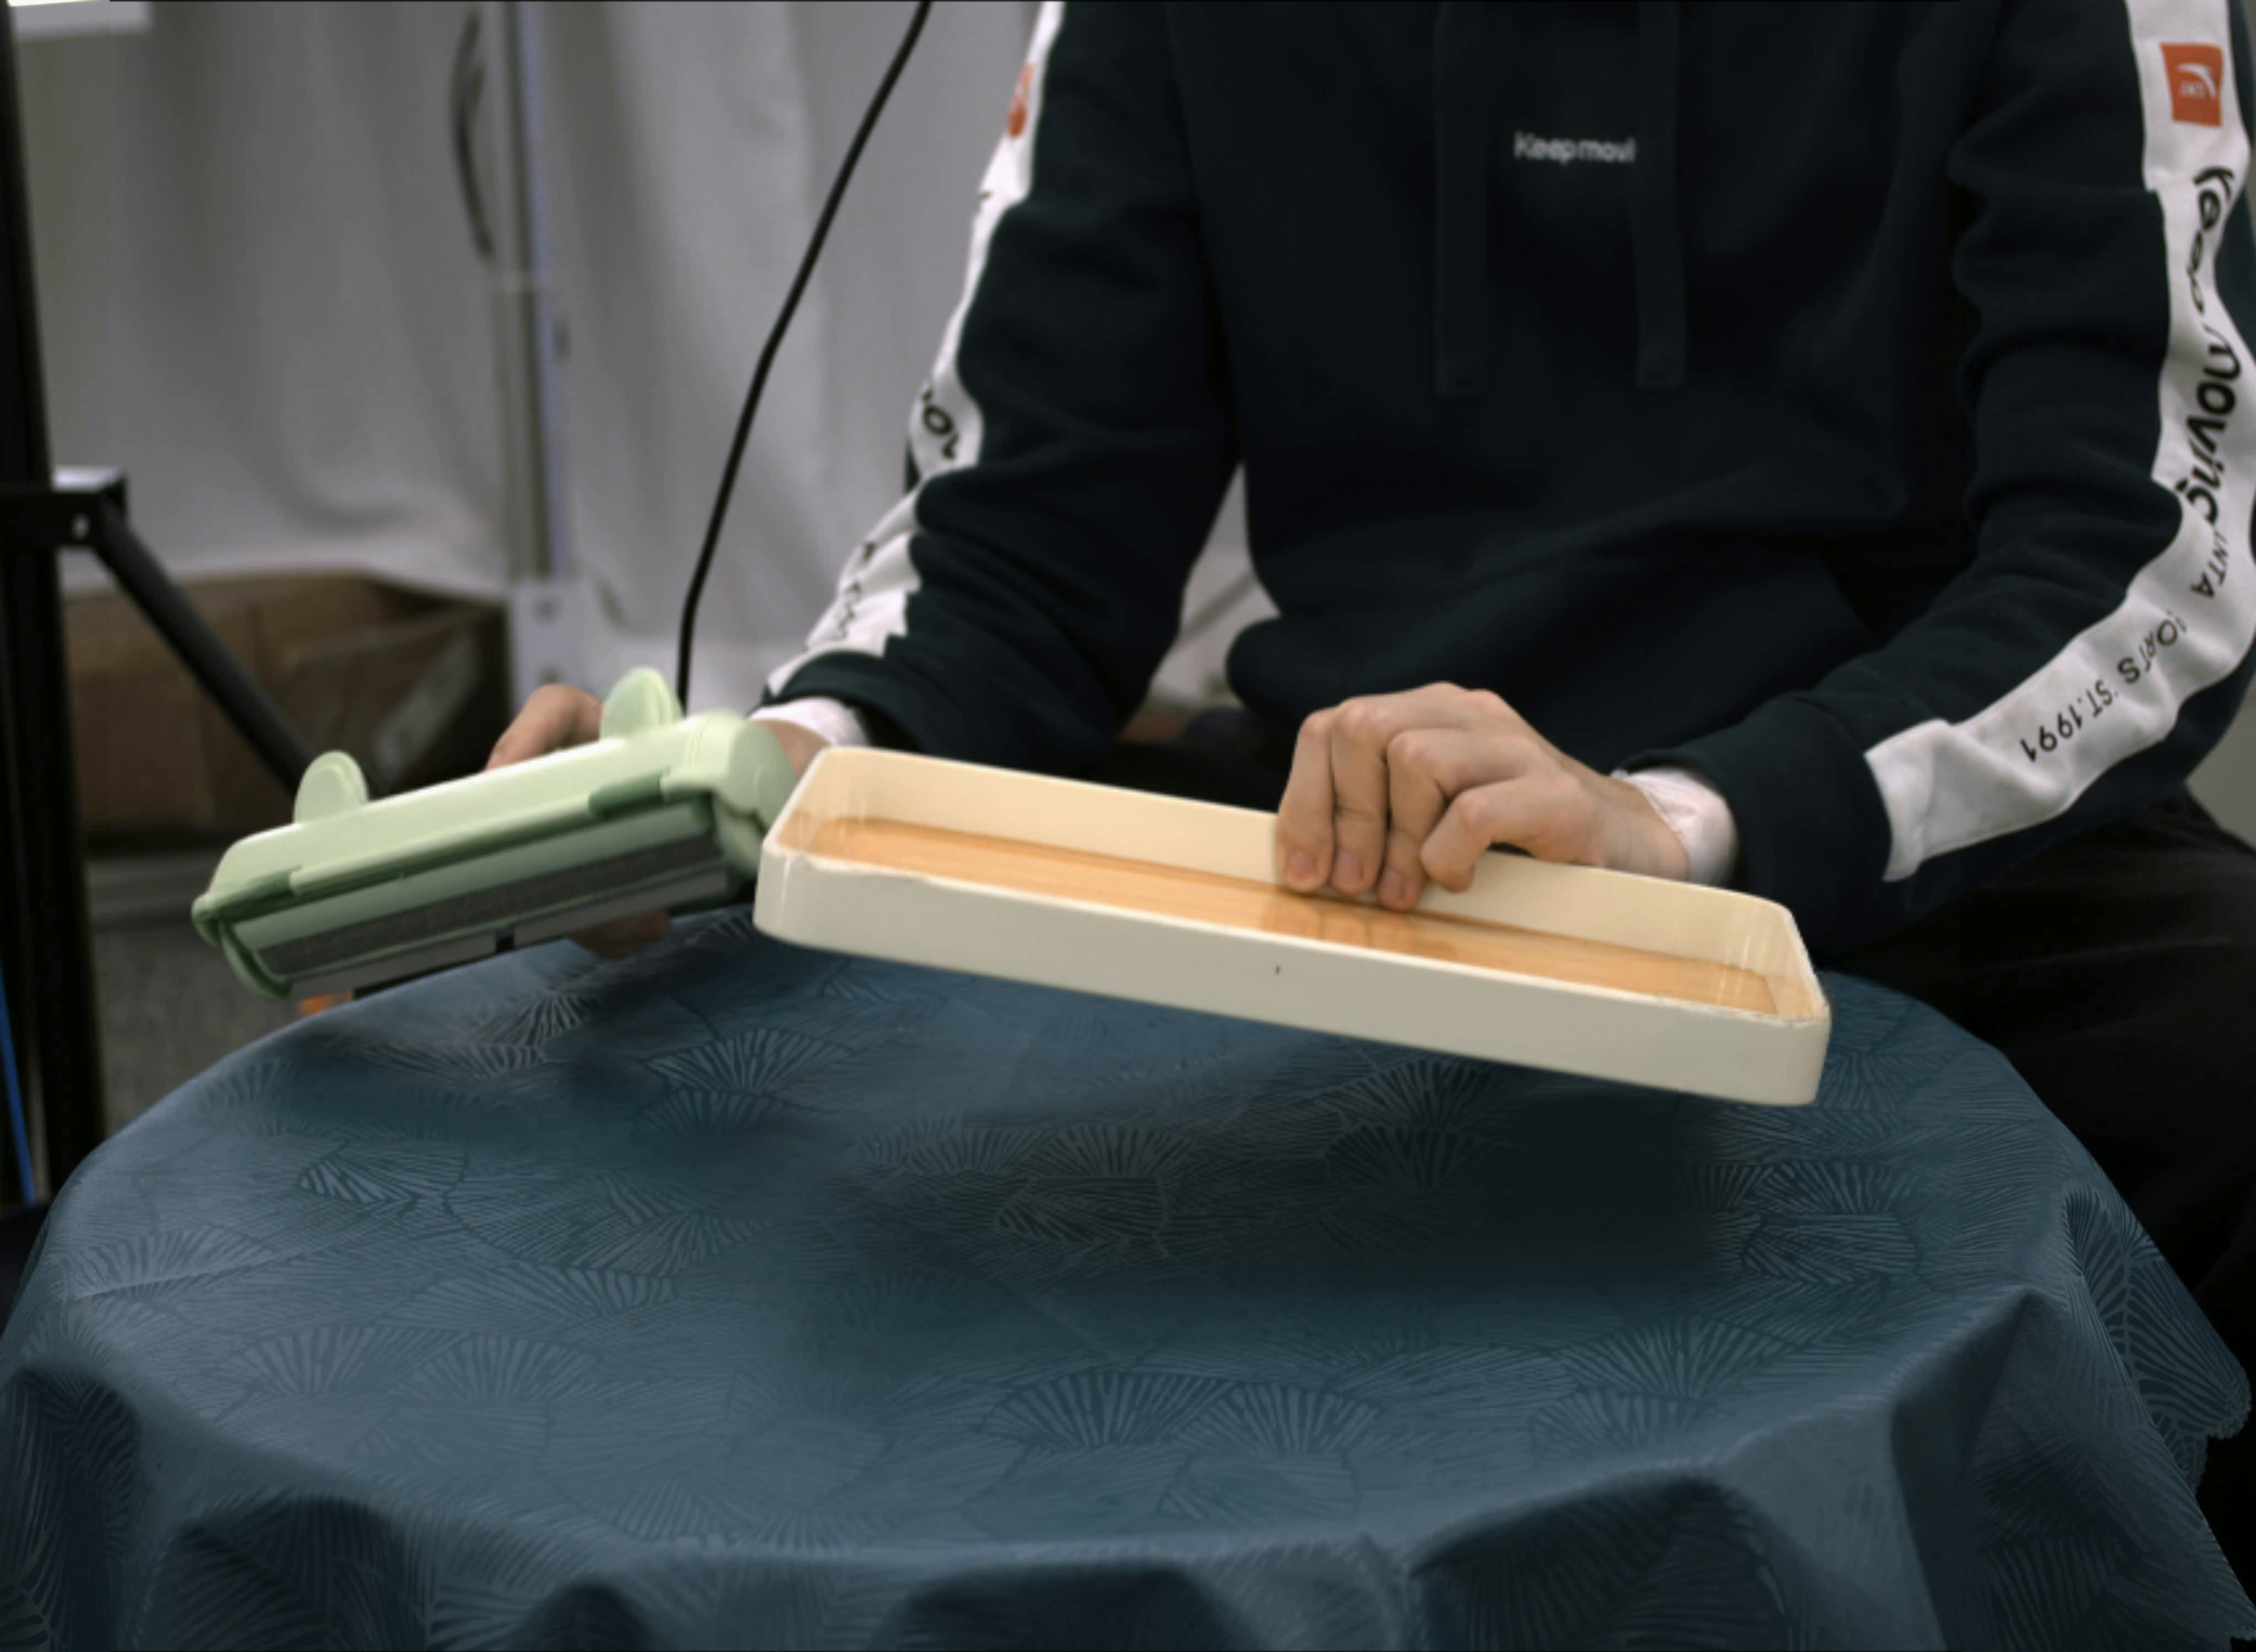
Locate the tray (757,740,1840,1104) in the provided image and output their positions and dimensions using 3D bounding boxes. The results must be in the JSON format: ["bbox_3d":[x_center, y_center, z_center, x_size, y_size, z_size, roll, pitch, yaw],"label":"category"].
[{"bbox_3d":[0.049,0.026,1.530,0.299,0.027,0.191,10,10,3],"label":"tray"}]

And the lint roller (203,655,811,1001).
[{"bbox_3d":[-0.178,-0.006,1.741,0.201,0.082,0.180,-16,2,24],"label":"lint roller"}]
